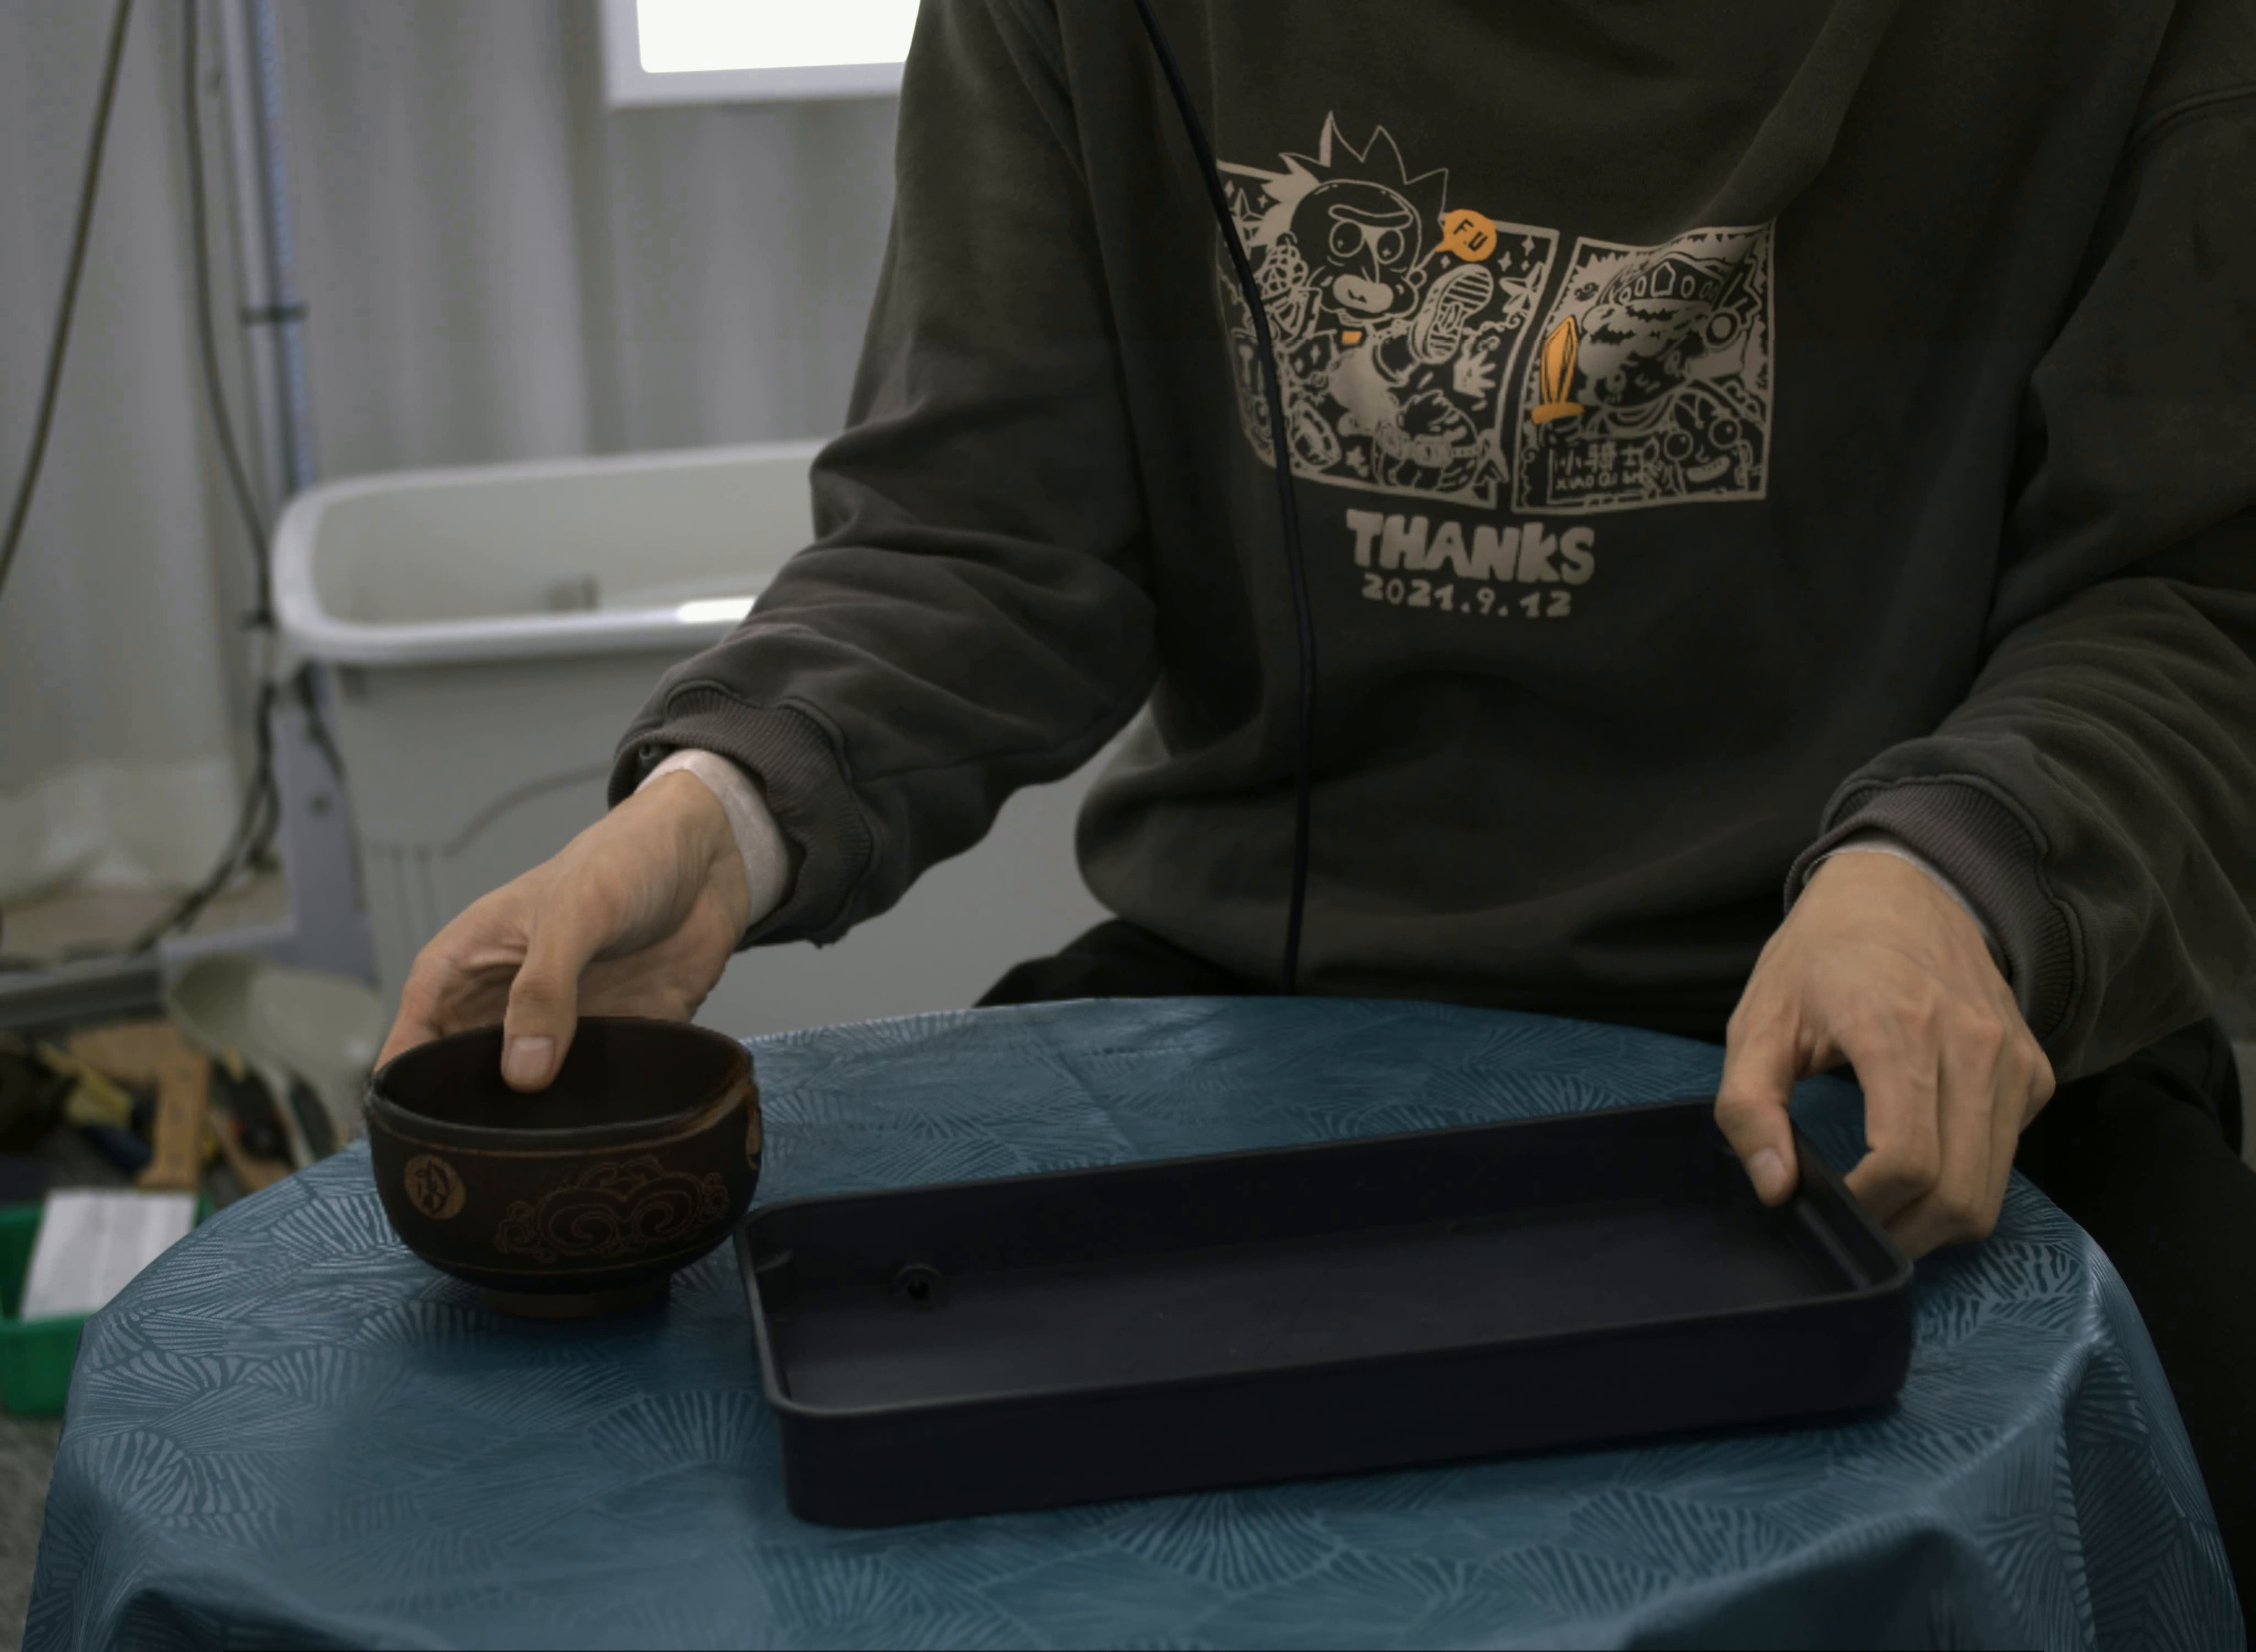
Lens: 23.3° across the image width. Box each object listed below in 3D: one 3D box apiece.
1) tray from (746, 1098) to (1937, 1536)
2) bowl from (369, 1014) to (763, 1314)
[{"bbox_3d":[0.056,0.136,1.557,0.317,0.037,0.185,-7,15,-8],"label":"tray"},{"bbox_3d":[-0.168,0.106,1.650,0.117,0.069,0.119,-1,14,0],"label":"bowl"}]
